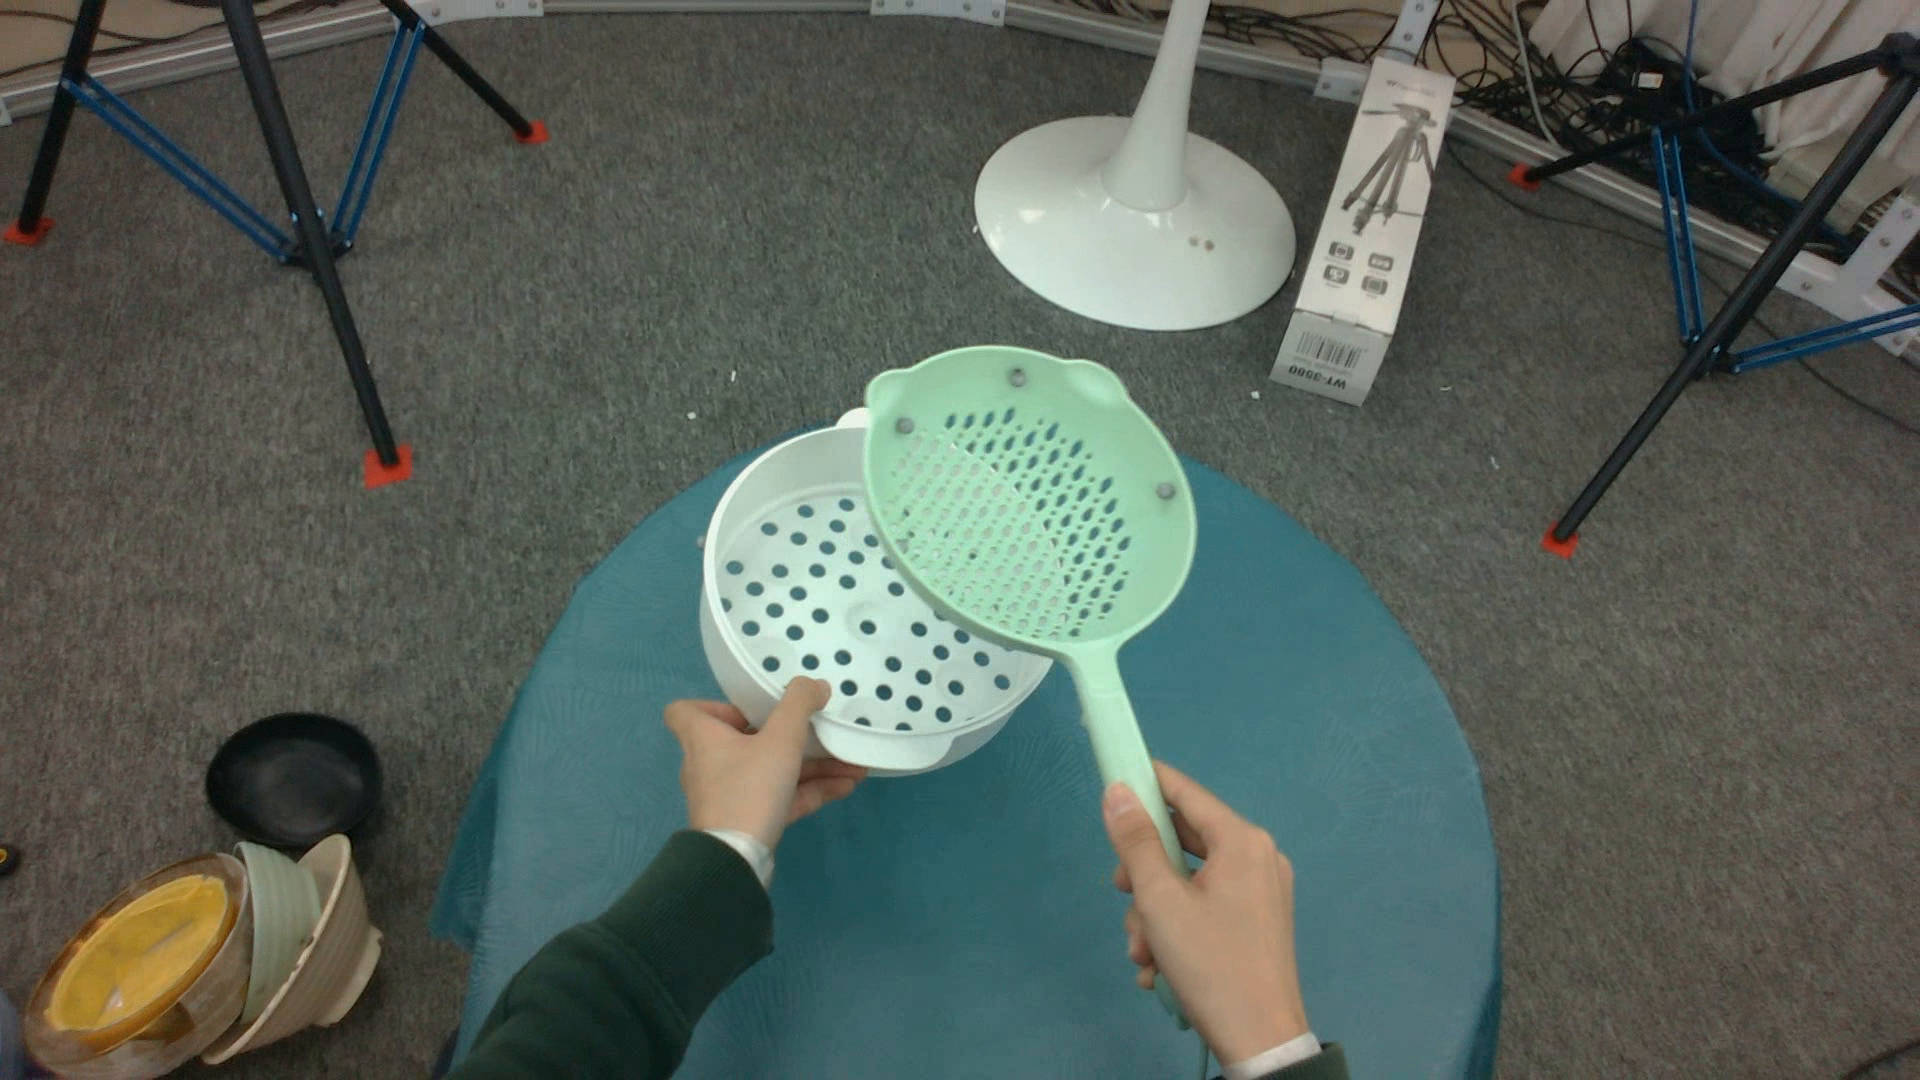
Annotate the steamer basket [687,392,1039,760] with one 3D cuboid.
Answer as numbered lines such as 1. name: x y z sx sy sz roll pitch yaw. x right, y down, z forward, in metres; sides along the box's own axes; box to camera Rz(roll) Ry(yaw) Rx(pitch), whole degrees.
1. steamer basket: -0.052 0.025 0.769 0.202 0.069 0.231 7 54 -13

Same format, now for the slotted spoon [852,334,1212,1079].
1. slotted spoon: 0.052 0.061 0.632 0.170 0.075 0.360 -6 56 -23
